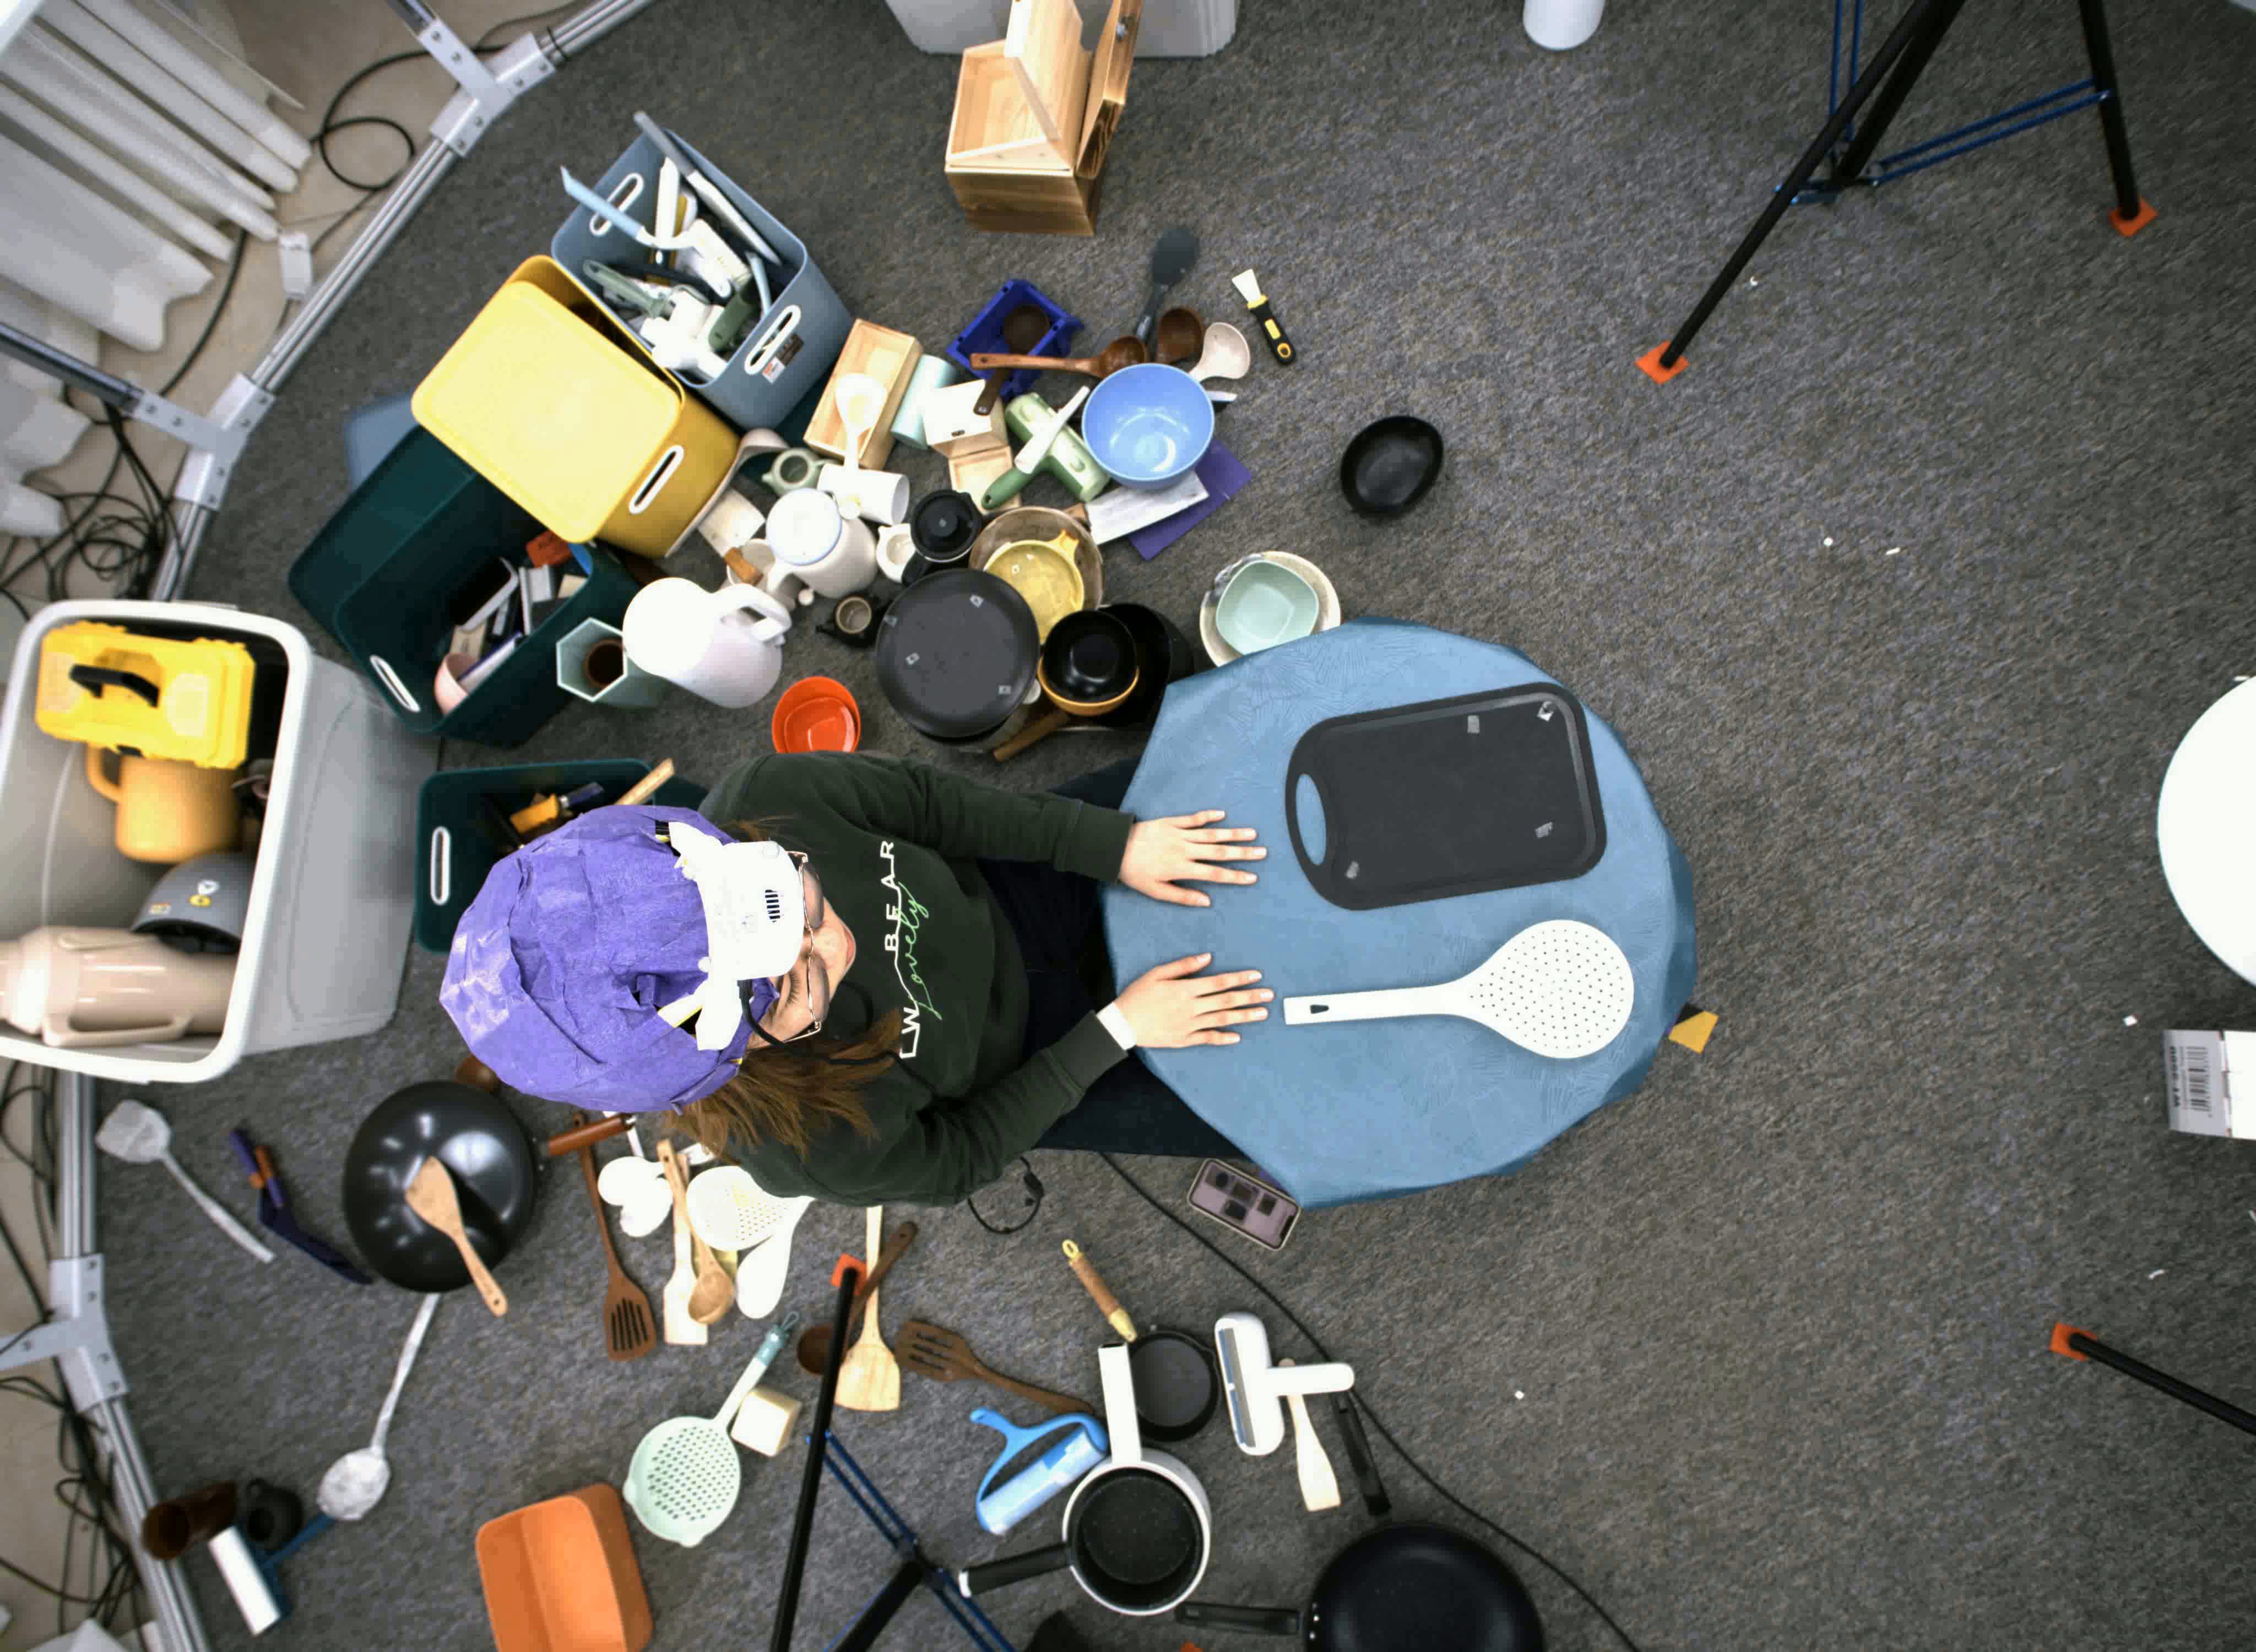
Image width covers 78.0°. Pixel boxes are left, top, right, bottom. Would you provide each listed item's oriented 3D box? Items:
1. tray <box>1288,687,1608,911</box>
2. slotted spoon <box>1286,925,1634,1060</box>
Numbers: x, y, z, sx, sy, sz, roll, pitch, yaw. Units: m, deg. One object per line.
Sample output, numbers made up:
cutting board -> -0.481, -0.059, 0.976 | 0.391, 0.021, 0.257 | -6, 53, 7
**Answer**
tray -> 0.333, -0.029, 1.457 | 0.327, 0.010, 0.210 | -9, 84, 10
slotted spoon -> 0.337, 0.178, 1.422 | 0.351, 0.046, 0.135 | -6, 83, 11
